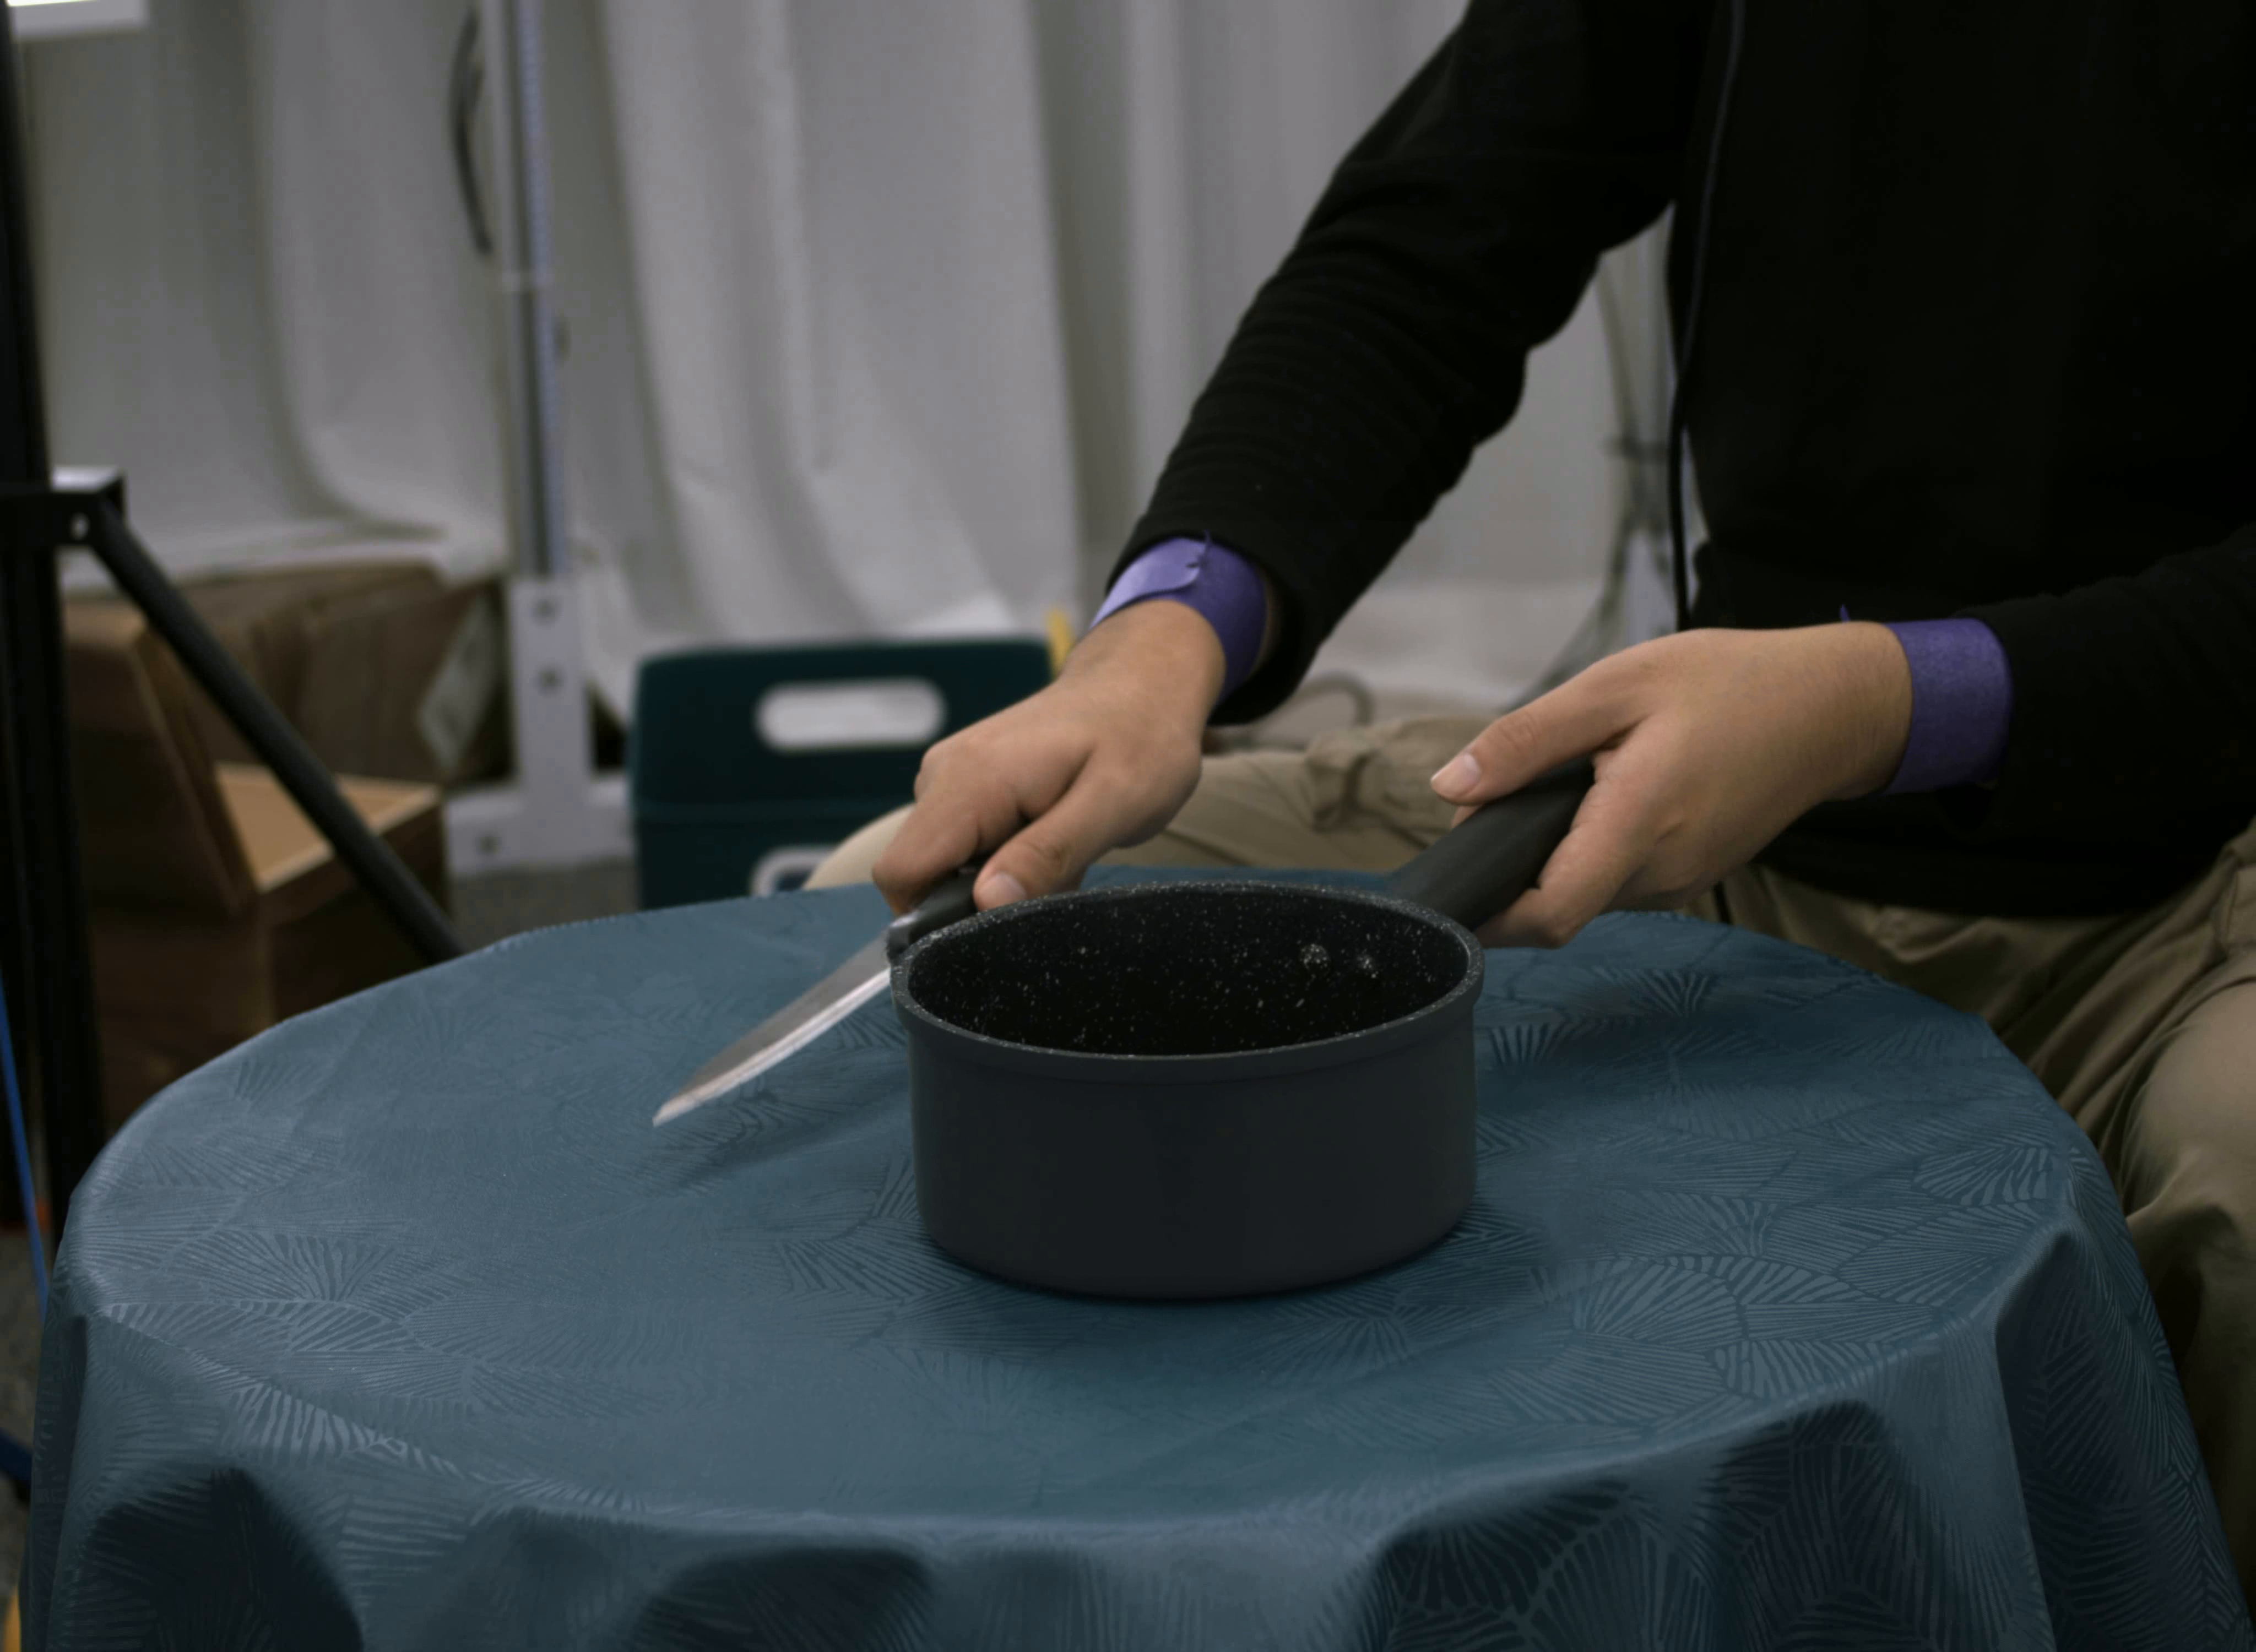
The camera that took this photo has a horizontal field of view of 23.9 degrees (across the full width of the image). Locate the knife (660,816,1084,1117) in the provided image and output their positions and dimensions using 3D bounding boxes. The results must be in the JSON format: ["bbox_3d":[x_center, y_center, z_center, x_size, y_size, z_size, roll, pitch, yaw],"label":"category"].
[{"bbox_3d":[-0.081,0.043,1.672,0.025,0.016,0.234,11,27,29],"label":"knife"}]

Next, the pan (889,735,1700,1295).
[{"bbox_3d":[0.067,0.053,1.583,0.176,0.086,0.322,11,22,39],"label":"pan"}]
